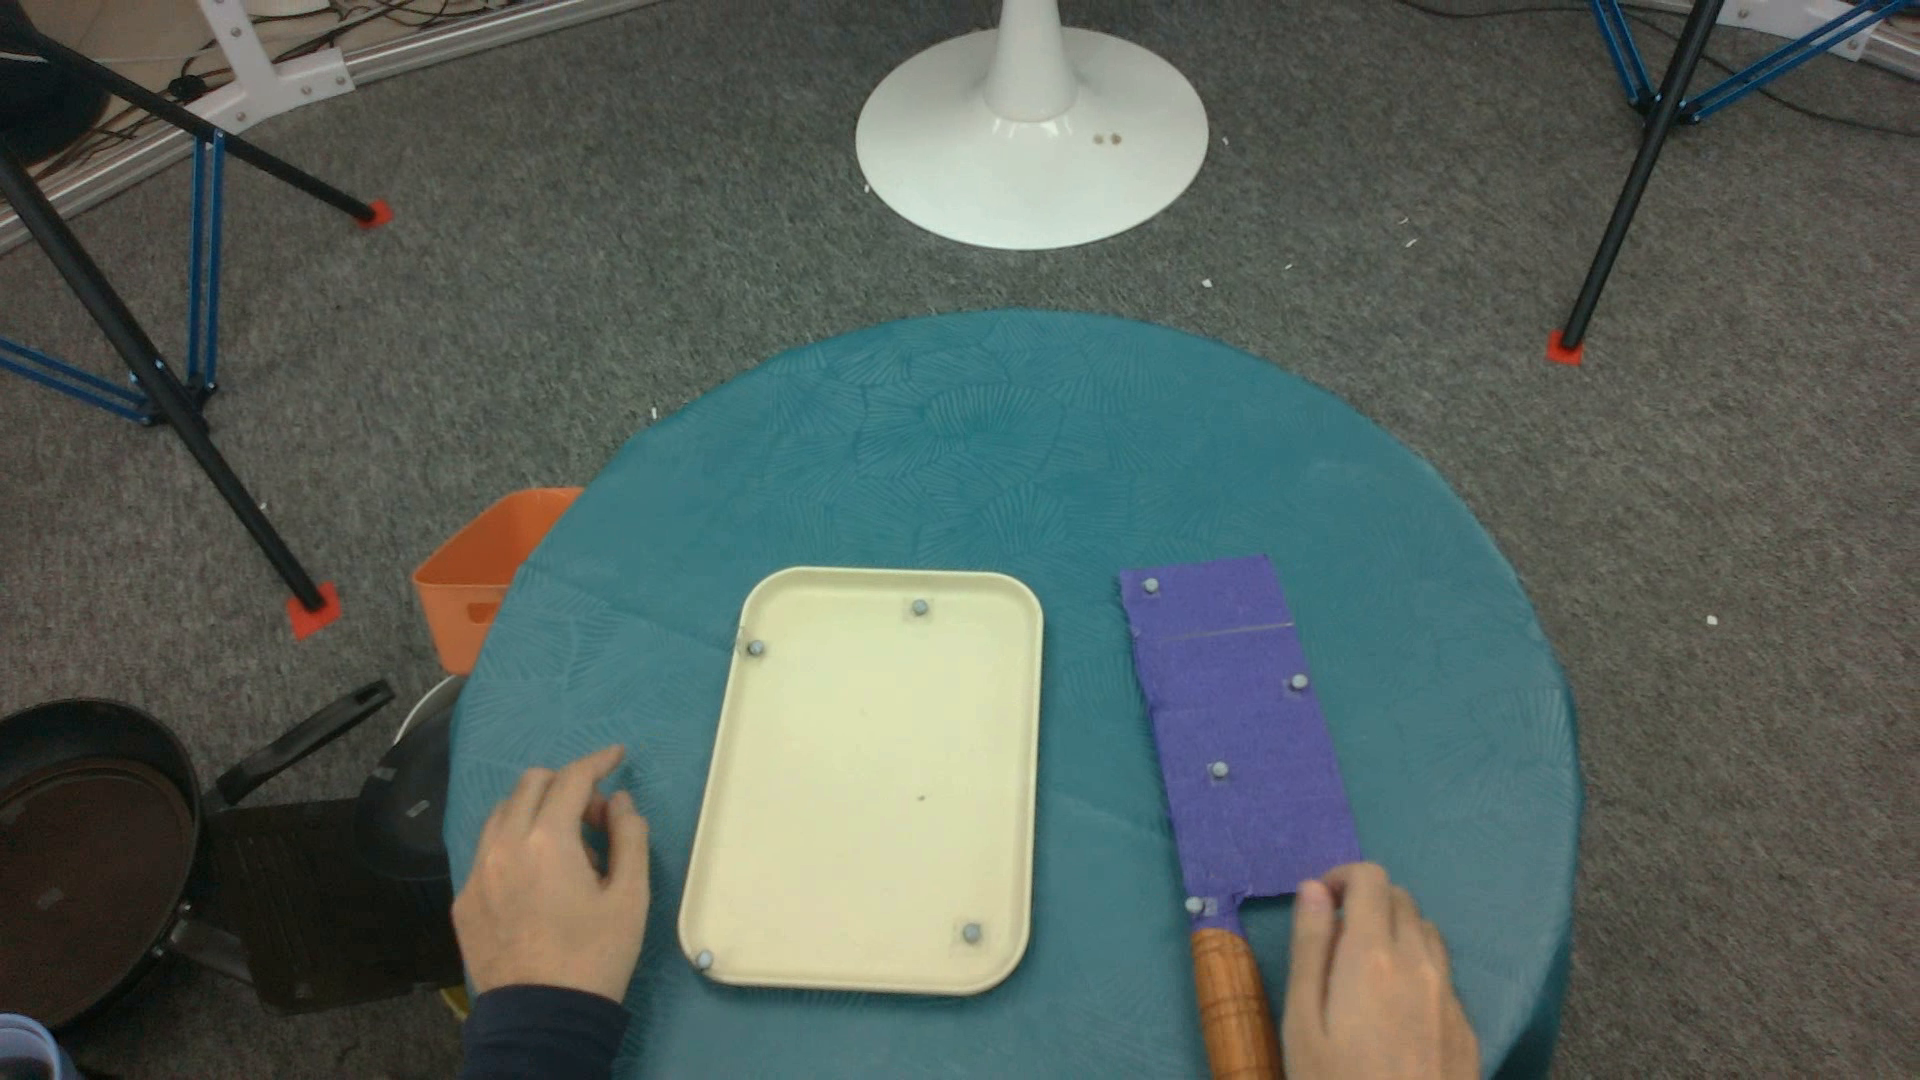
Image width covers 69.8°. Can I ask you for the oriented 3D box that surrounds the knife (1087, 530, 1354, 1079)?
[{"bbox_3d":[0.143,0.119,0.697,0.104,0.032,0.316,-7,53,-3],"label":"knife"}]

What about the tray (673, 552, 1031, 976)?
[{"bbox_3d":[-0.049,0.108,0.718,0.171,0.017,0.241,2,54,3],"label":"tray"}]
